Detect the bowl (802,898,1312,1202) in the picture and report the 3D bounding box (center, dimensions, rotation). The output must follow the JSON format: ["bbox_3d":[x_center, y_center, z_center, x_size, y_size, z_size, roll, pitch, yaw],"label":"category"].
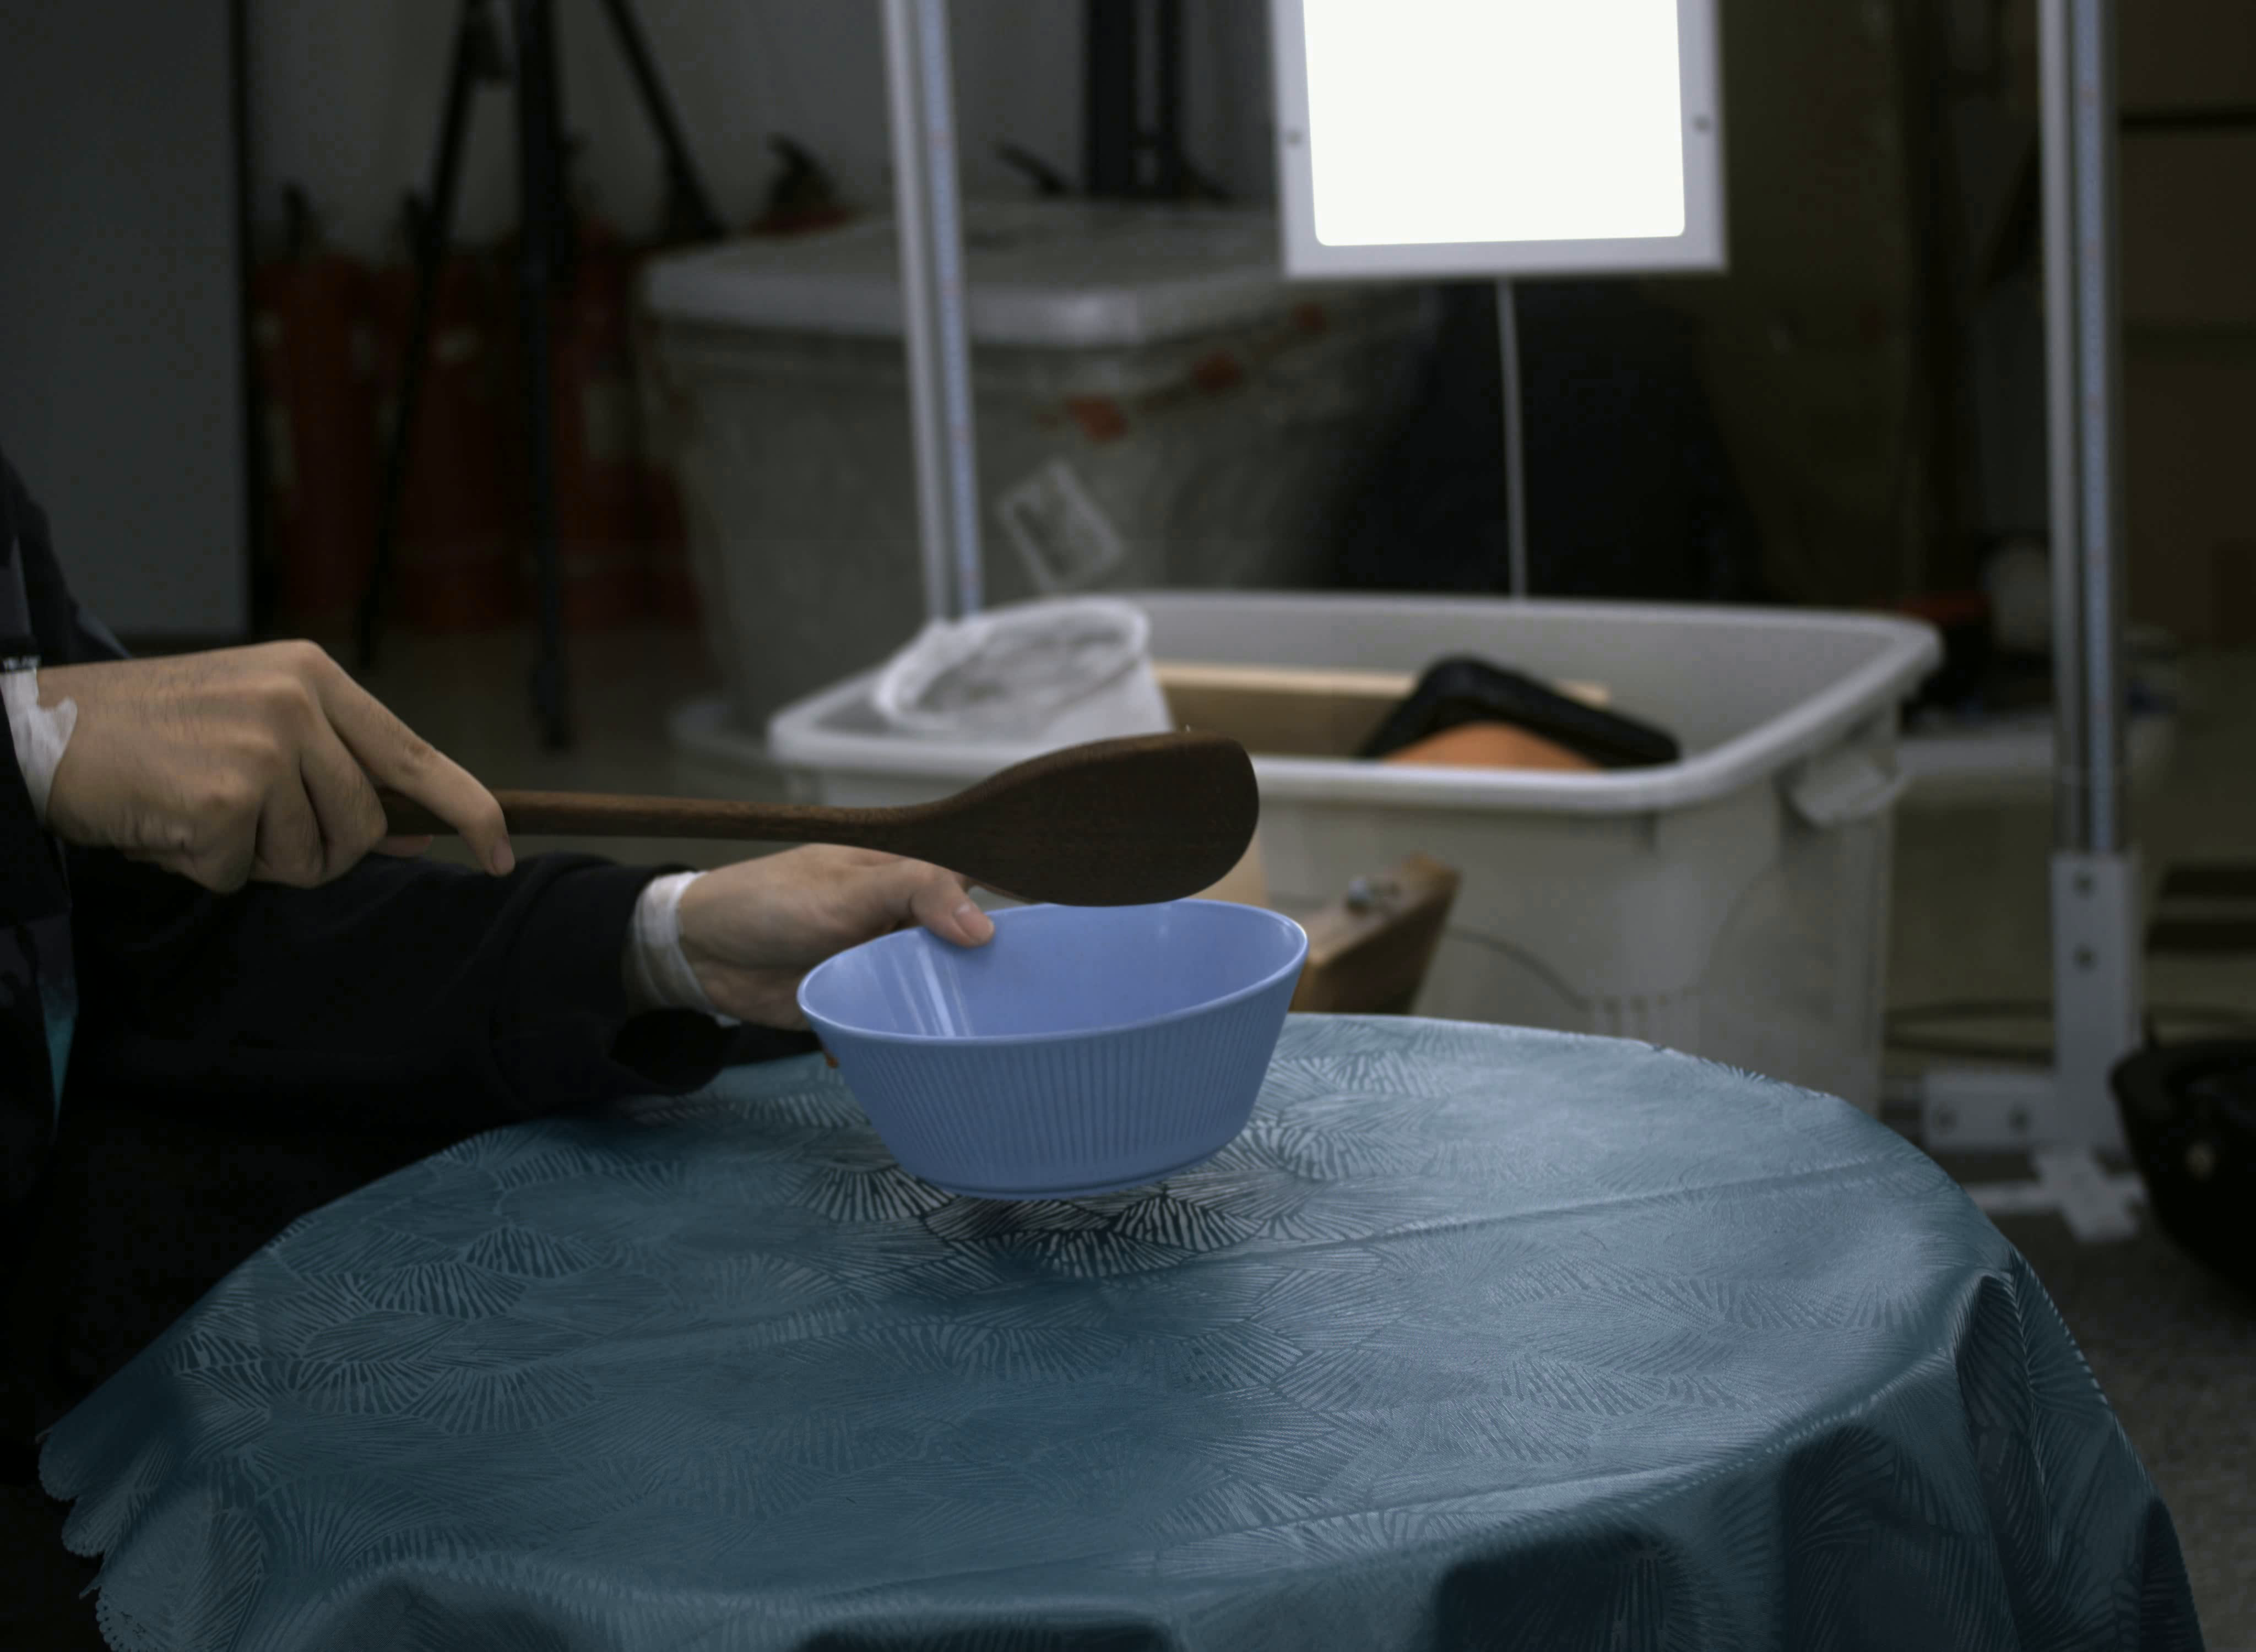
[{"bbox_3d":[-0.020,0.079,1.875,0.176,0.070,0.176,-8,12,0],"label":"bowl"}]

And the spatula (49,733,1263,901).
[{"bbox_3d":[-0.149,-0.003,1.755,0.385,0.016,0.096,1,-30,0],"label":"spatula"}]
